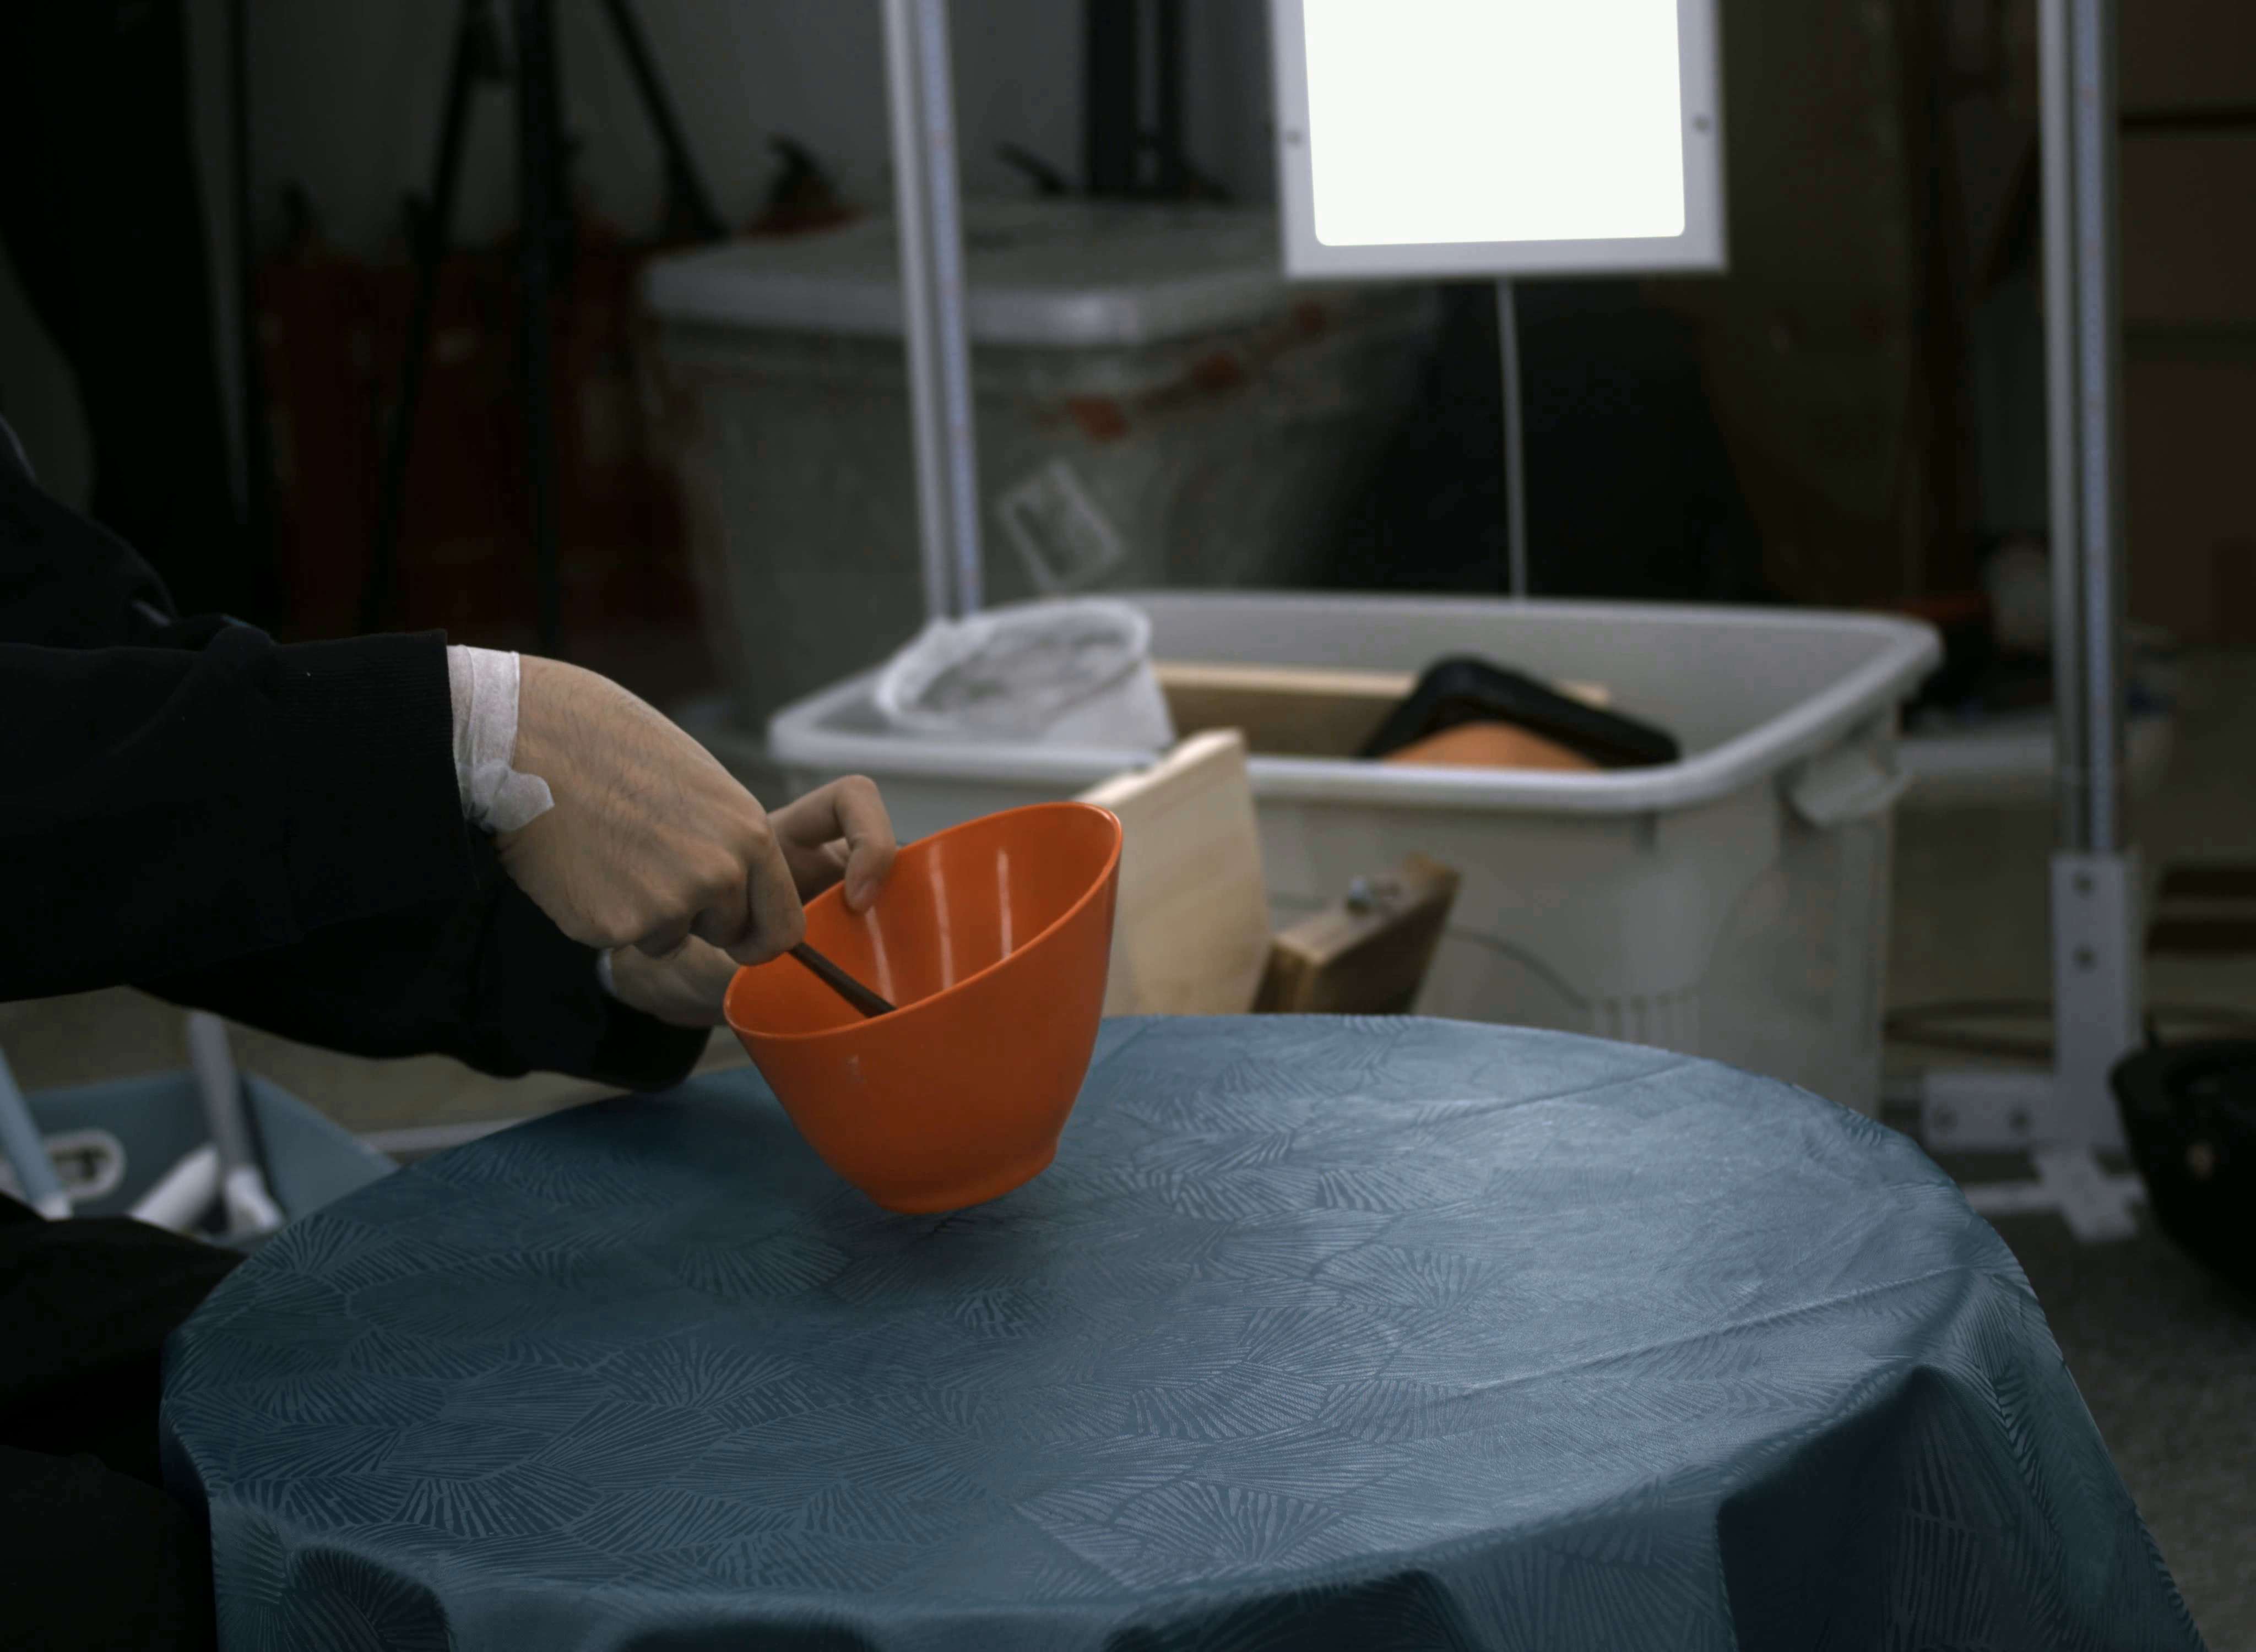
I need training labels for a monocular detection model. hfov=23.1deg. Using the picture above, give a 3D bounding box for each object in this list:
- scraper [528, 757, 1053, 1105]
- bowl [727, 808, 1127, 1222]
[{"bbox_3d":[-0.115,0.038,1.858,0.209,0.011,0.076,36,-8,-11],"label":"scraper"},{"bbox_3d":[-0.057,0.070,1.872,0.148,0.105,0.148,-16,18,4],"label":"bowl"}]
